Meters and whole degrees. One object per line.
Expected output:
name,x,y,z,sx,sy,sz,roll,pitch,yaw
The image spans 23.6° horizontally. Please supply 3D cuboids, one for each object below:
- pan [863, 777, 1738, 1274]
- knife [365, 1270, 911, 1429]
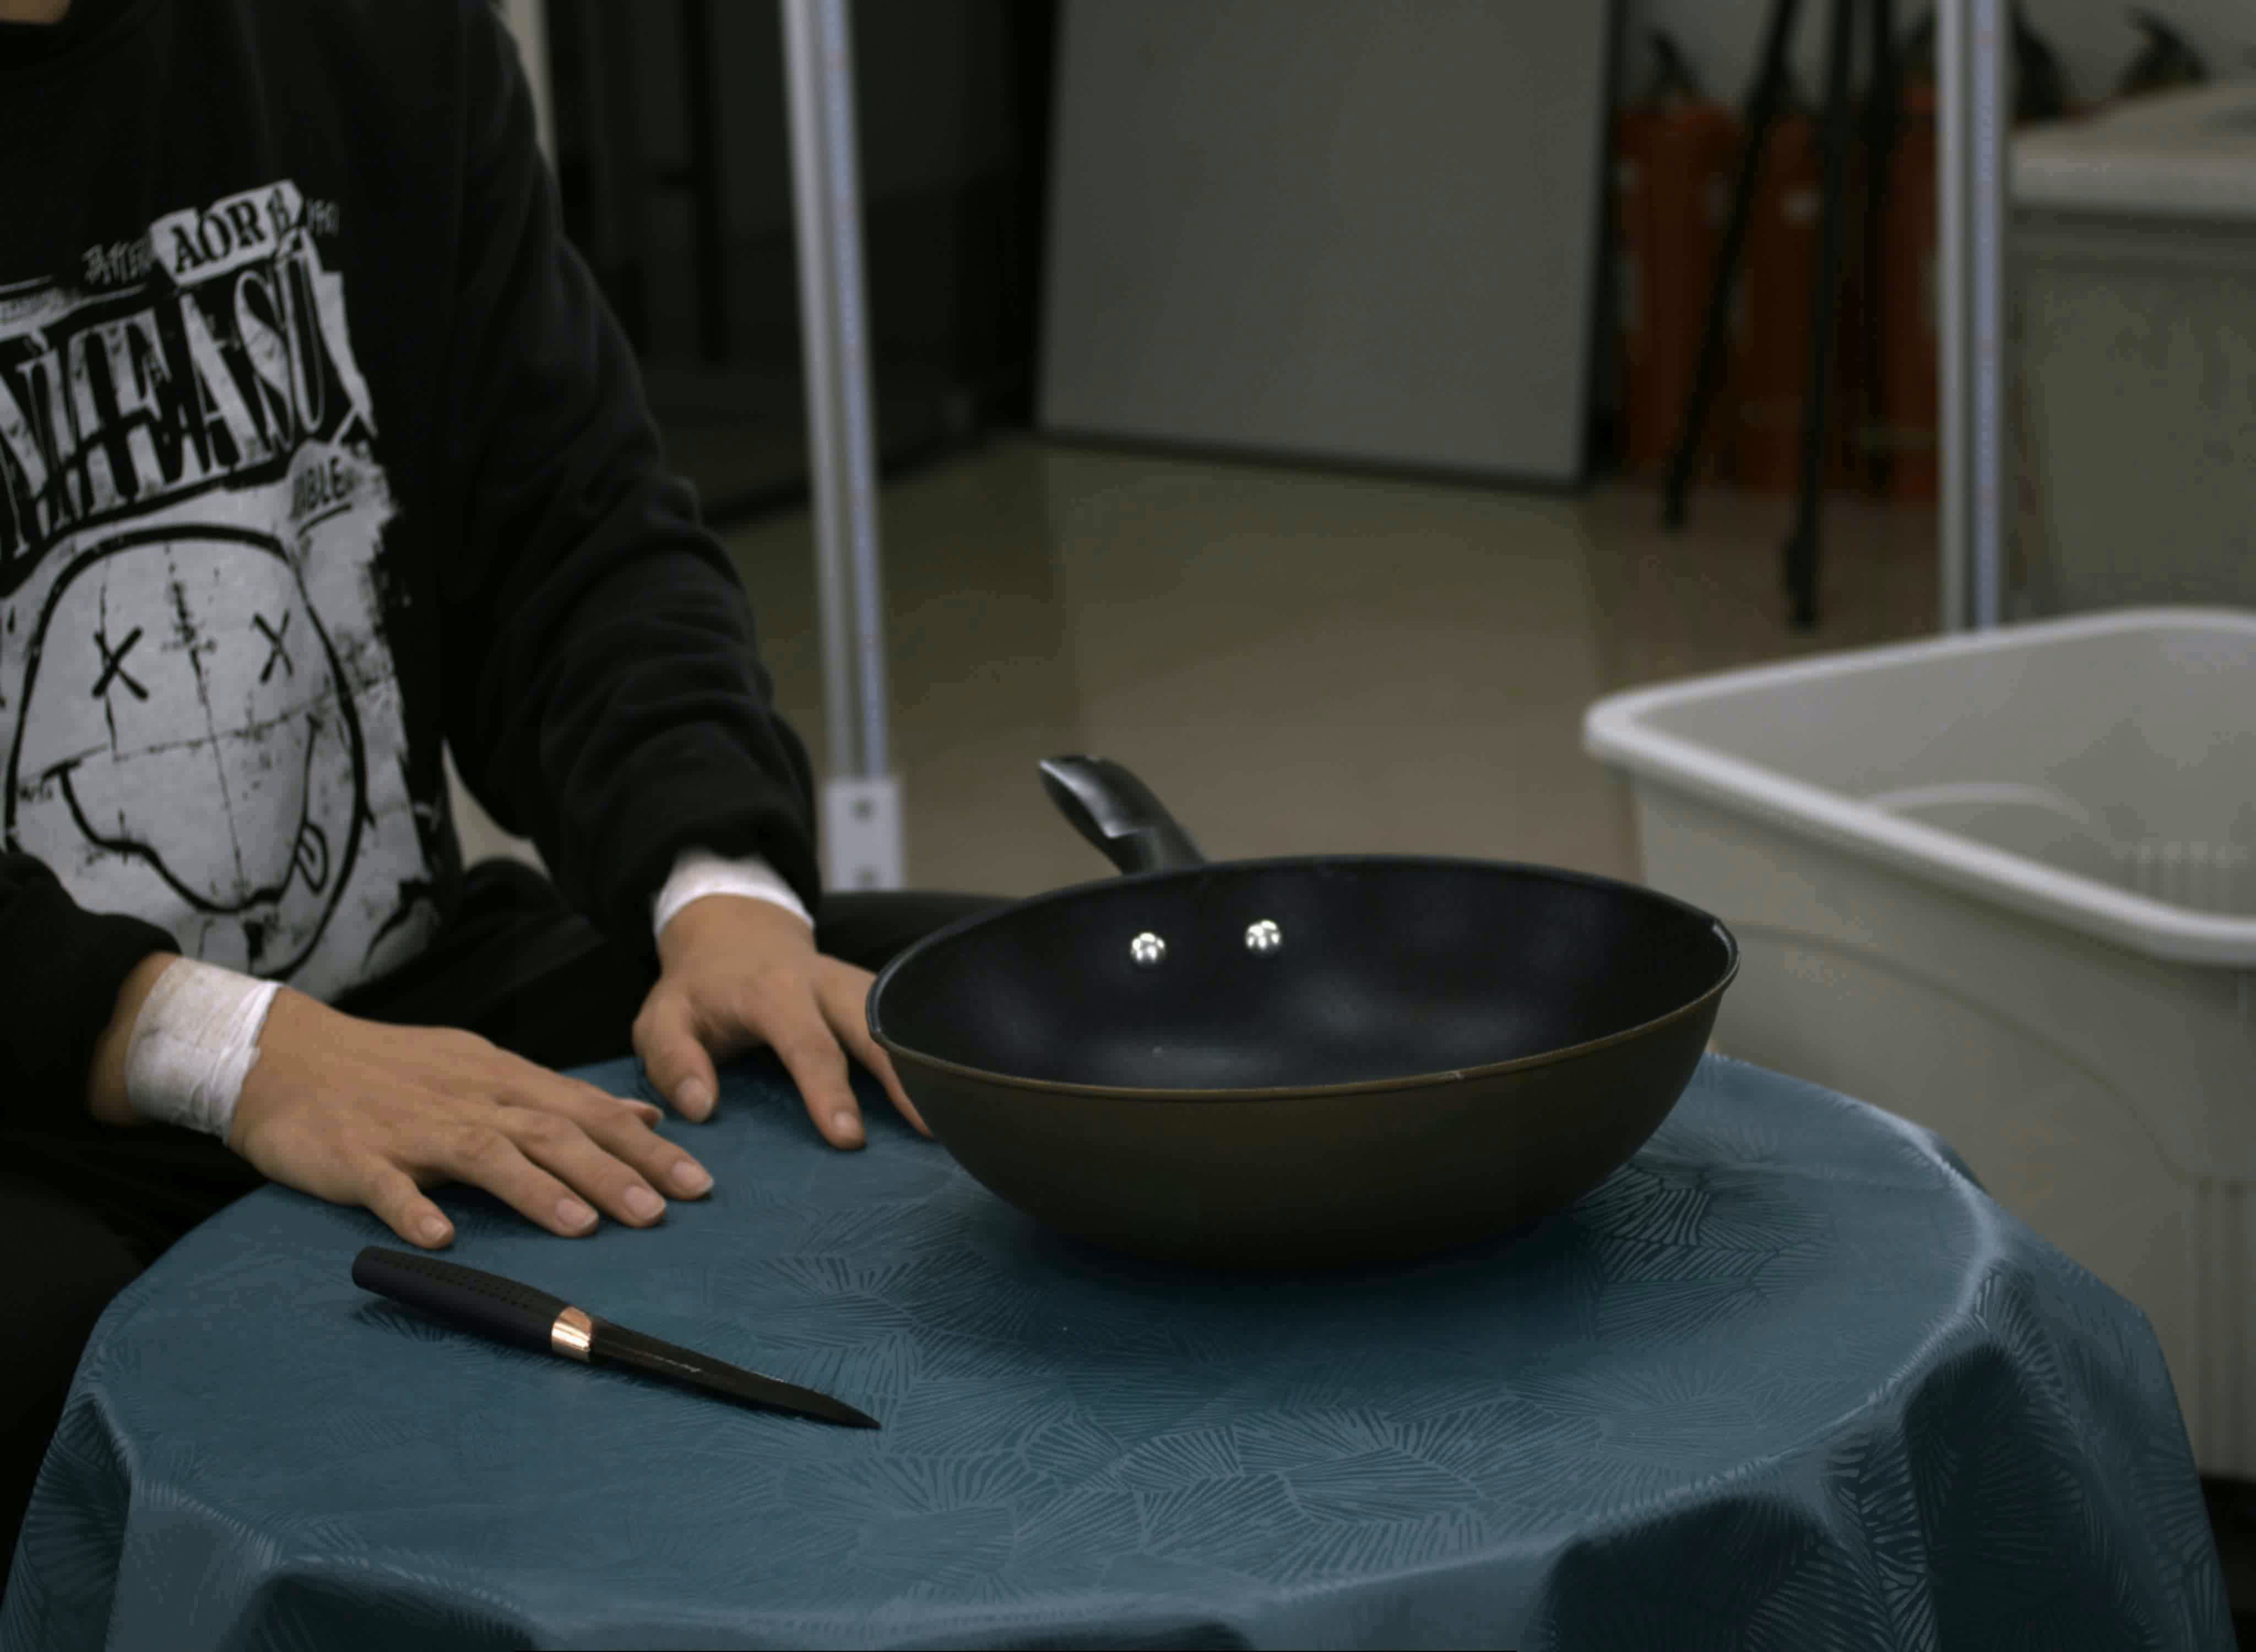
pan,0.036,0.064,1.825,0.283,0.088,0.466,-7,13,-12
knife,-0.152,0.161,1.646,0.227,0.017,0.025,9,3,41
